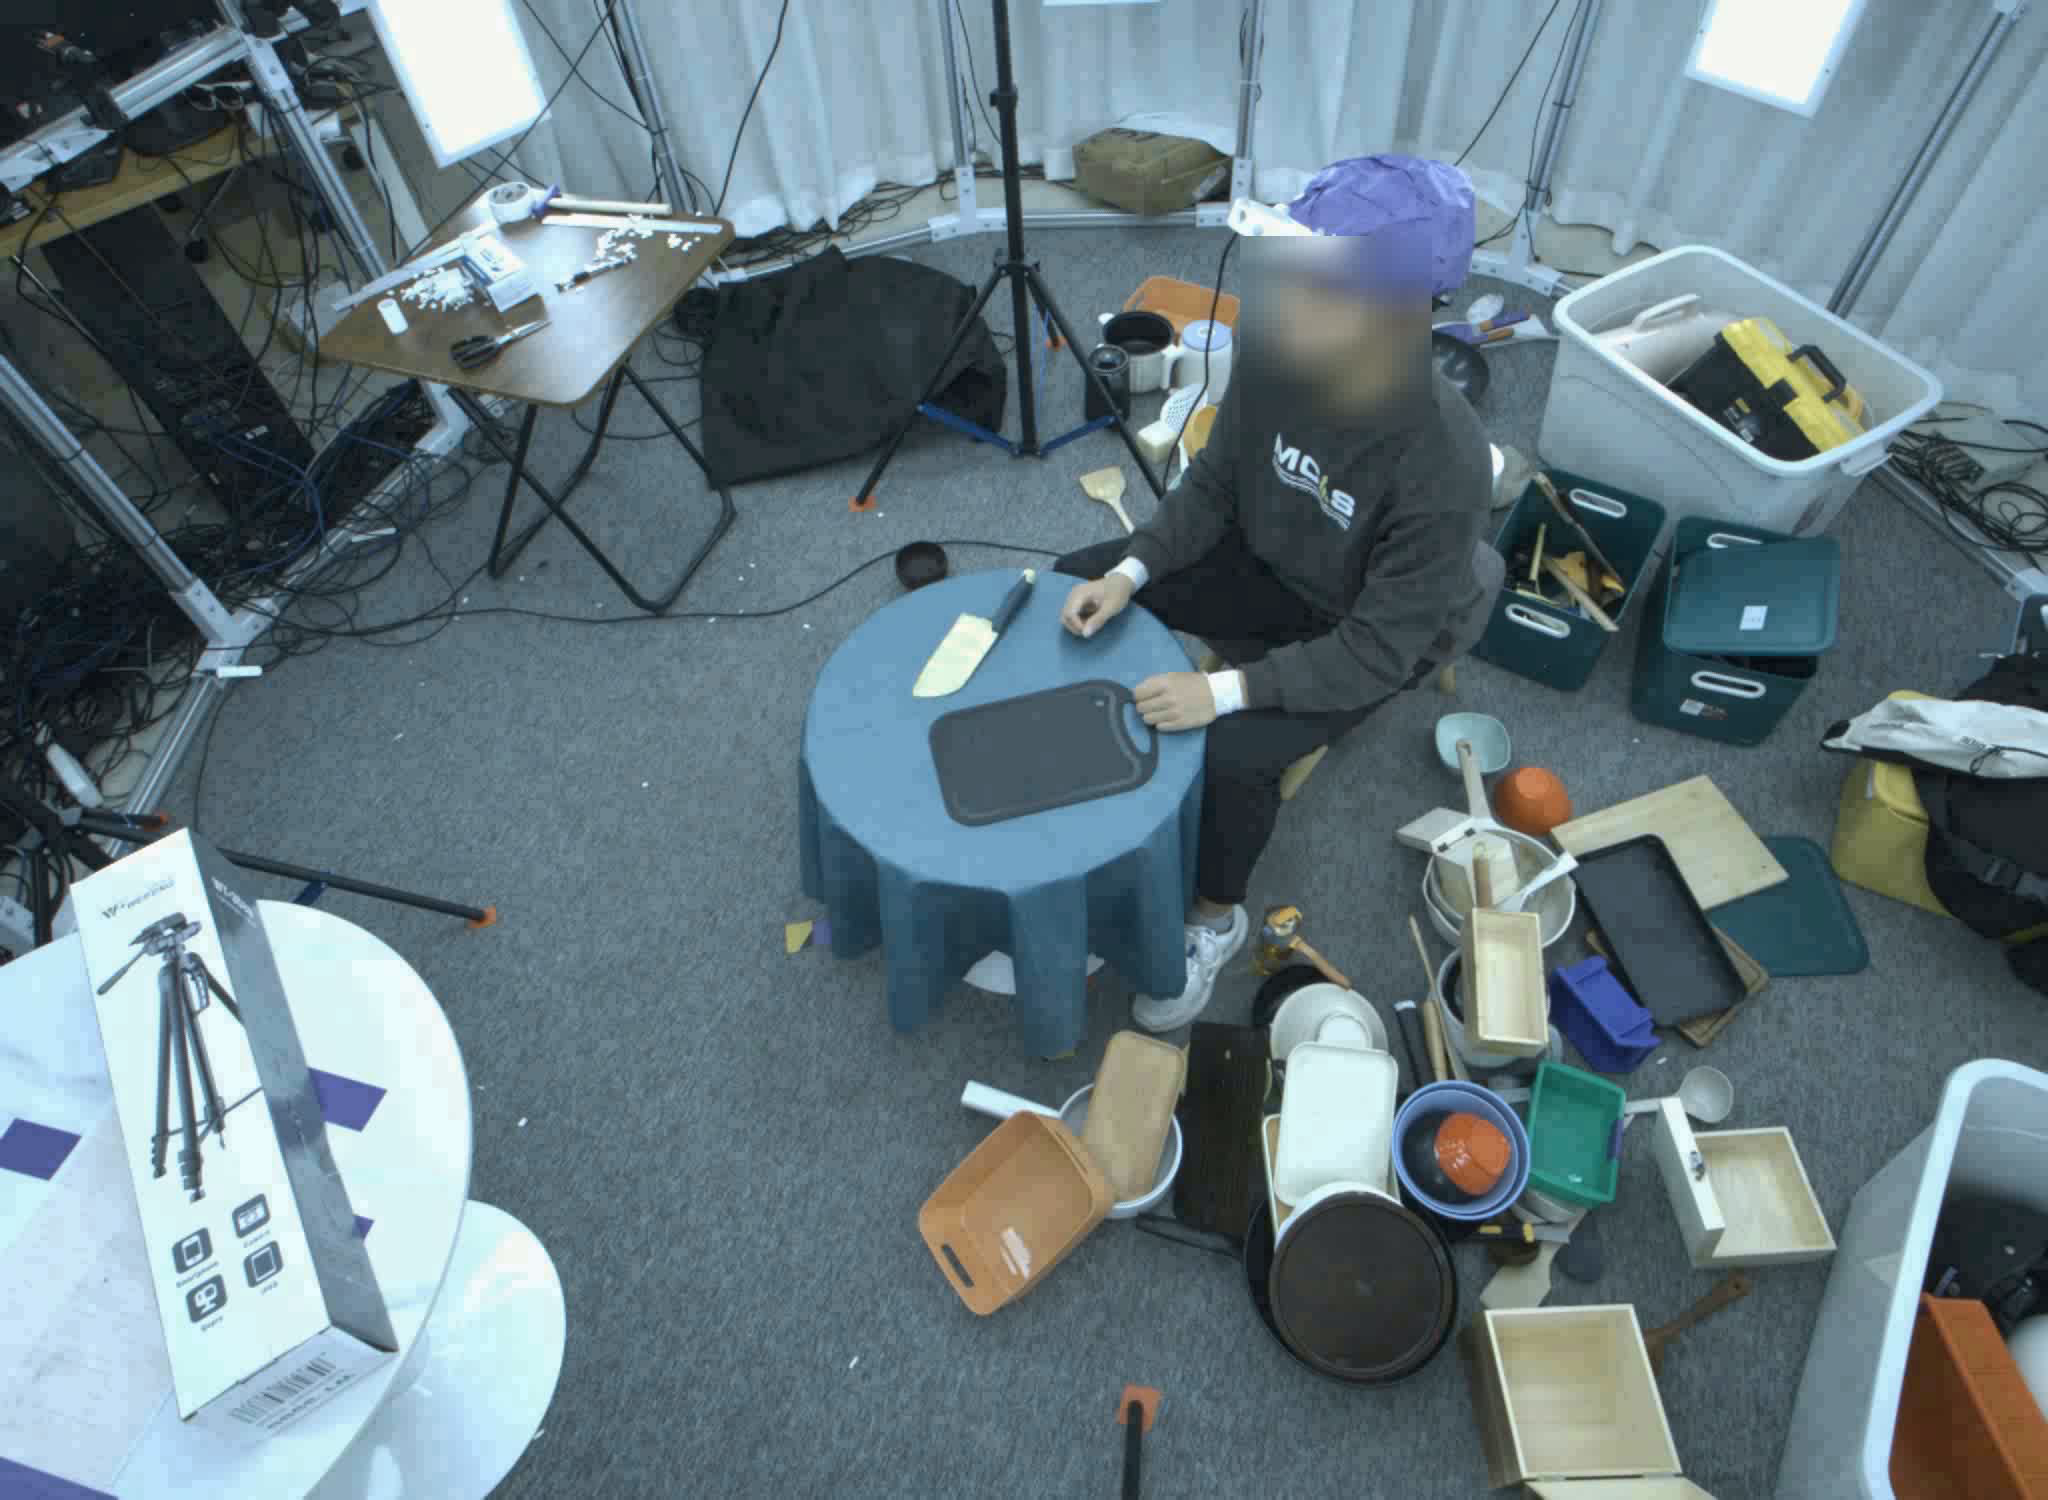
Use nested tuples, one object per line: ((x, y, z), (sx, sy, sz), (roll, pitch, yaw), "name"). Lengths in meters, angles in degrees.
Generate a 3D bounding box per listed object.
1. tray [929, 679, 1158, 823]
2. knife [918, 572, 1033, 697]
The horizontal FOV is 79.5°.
((0.031, -0.006, 1.794), (0.327, 0.010, 0.208), (-12, 55, -7), "tray")
((-0.075, -0.184, 1.920), (0.080, 0.027, 0.290), (27, 60, 17), "knife")
